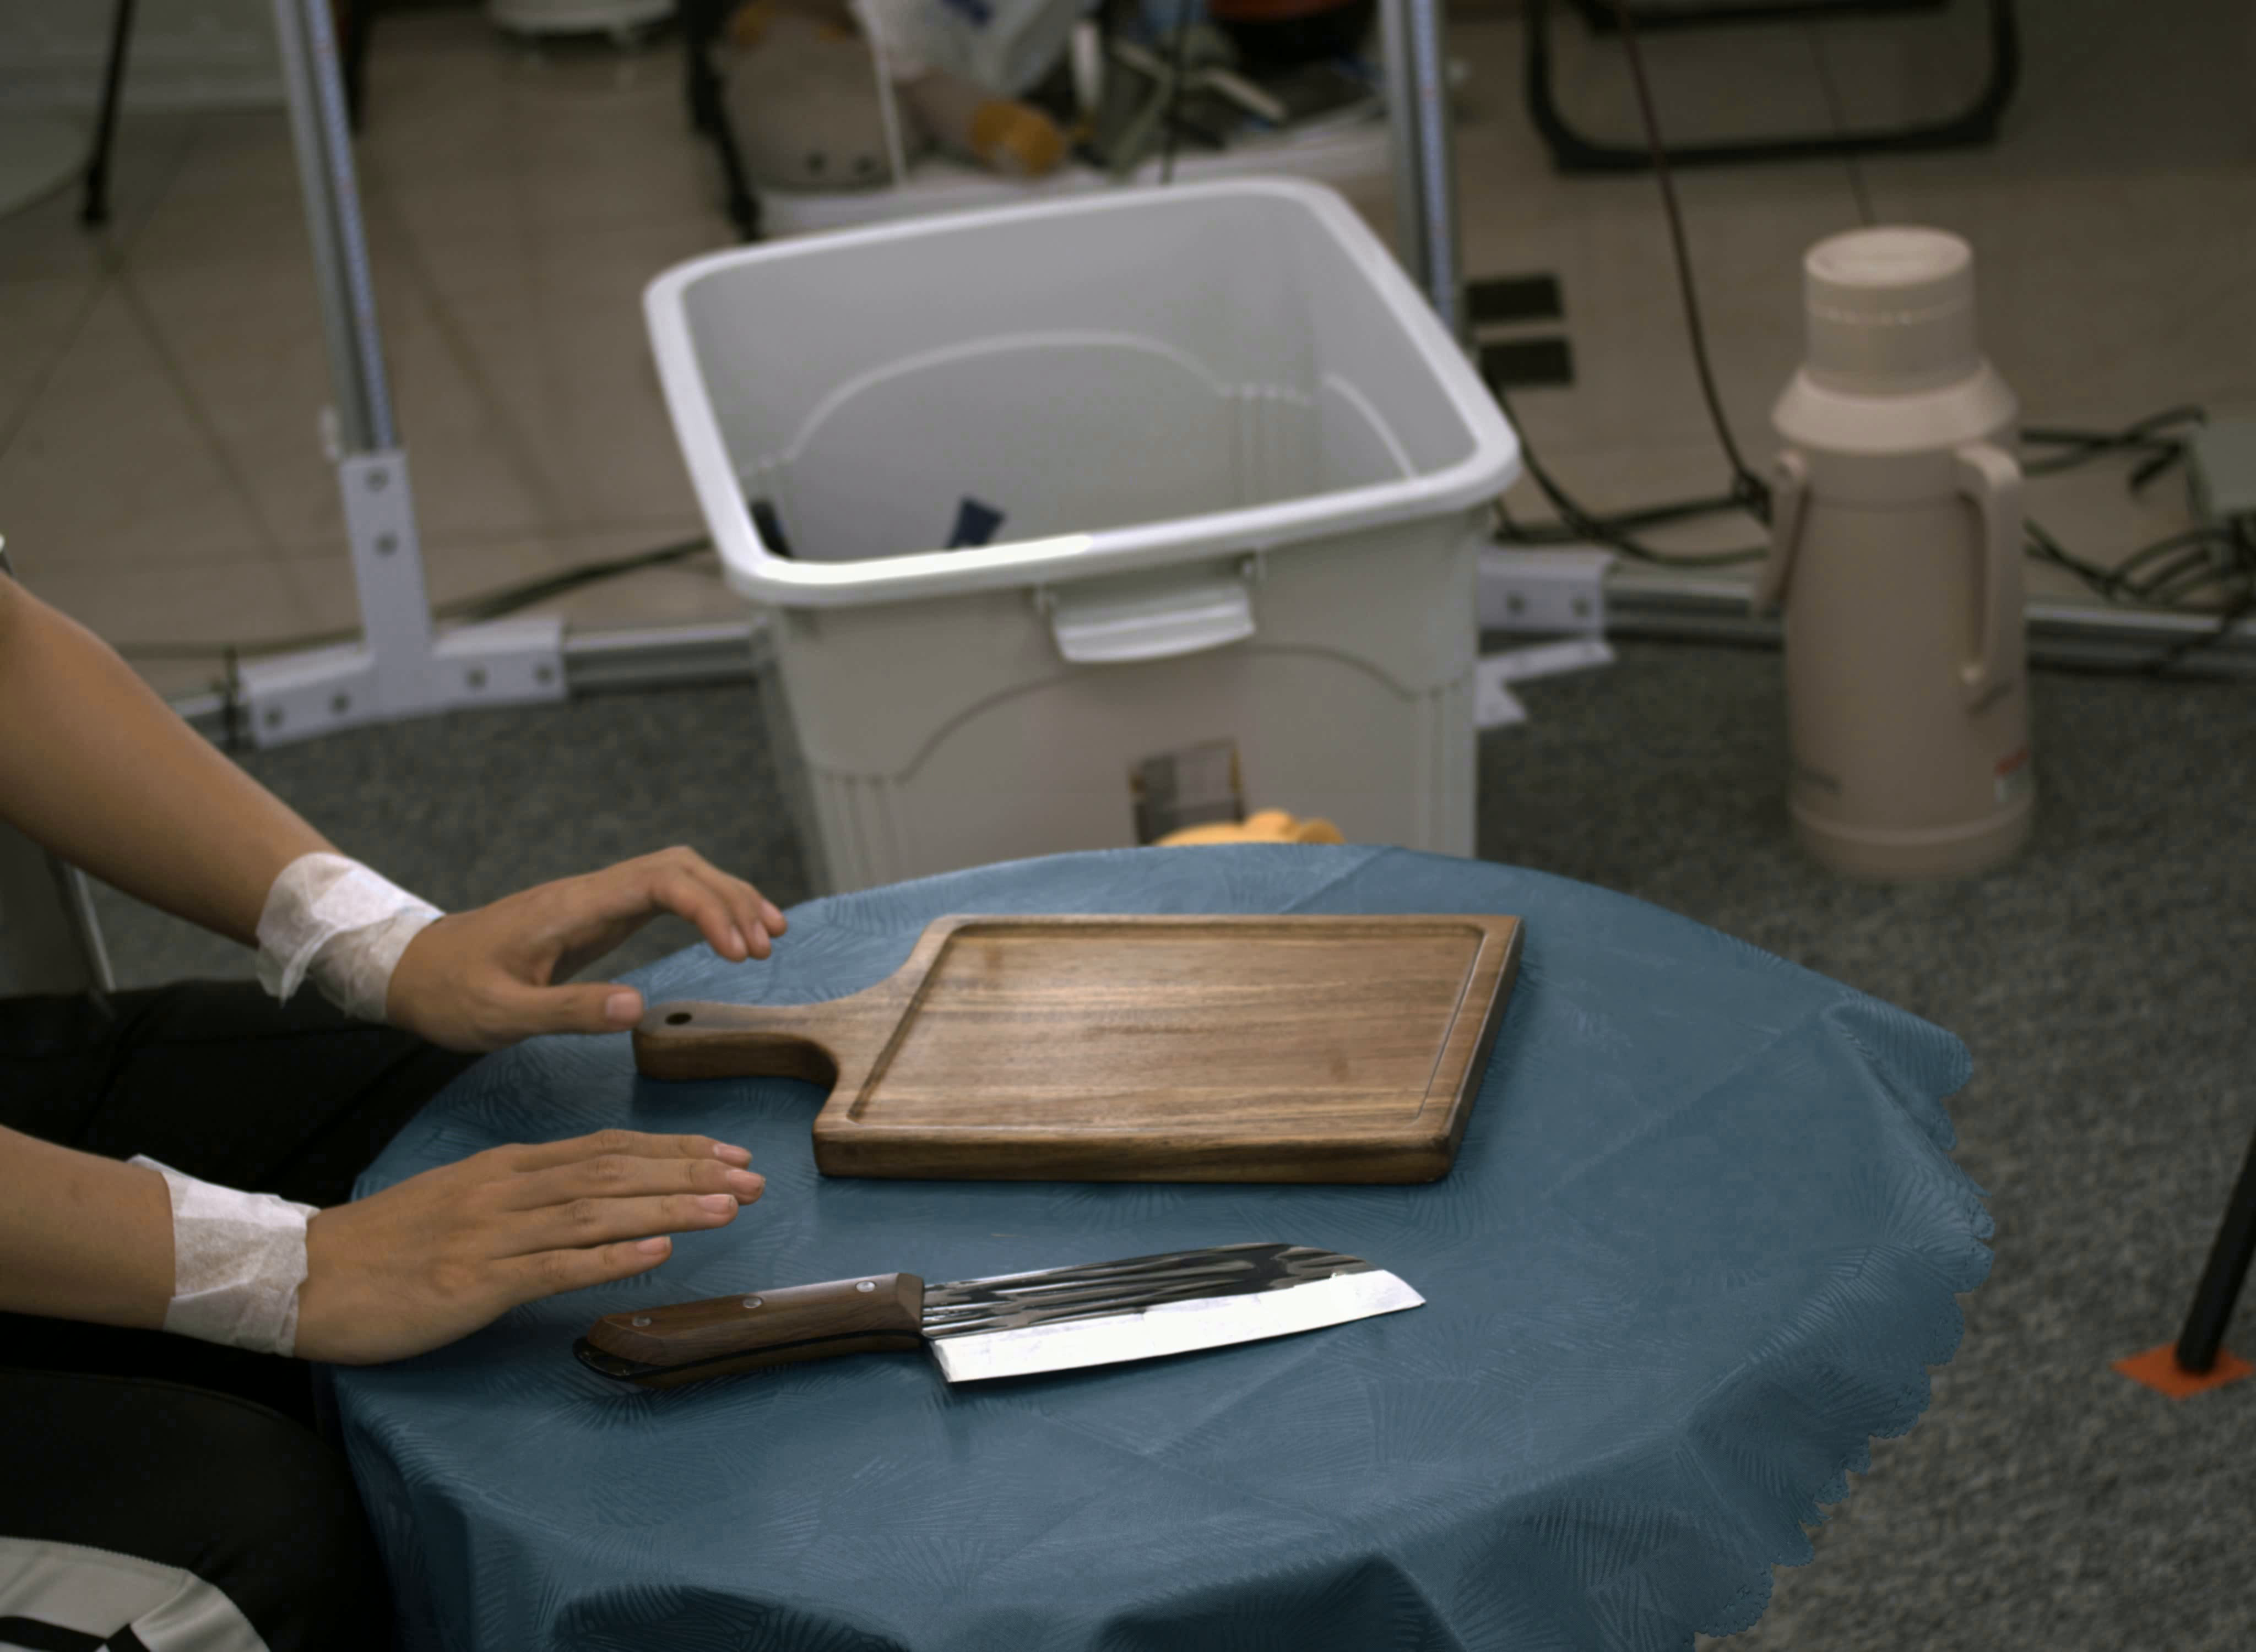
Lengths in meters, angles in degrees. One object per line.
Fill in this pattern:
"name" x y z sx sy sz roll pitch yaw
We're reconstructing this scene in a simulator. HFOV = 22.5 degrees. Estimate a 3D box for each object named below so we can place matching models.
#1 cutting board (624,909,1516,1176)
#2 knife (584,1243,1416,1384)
"cutting board" -0.030 0.084 2.250 0.351 0.023 0.198 -1 25 13
"knife" -0.046 0.179 2.053 0.299 0.024 0.067 -6 27 -6
